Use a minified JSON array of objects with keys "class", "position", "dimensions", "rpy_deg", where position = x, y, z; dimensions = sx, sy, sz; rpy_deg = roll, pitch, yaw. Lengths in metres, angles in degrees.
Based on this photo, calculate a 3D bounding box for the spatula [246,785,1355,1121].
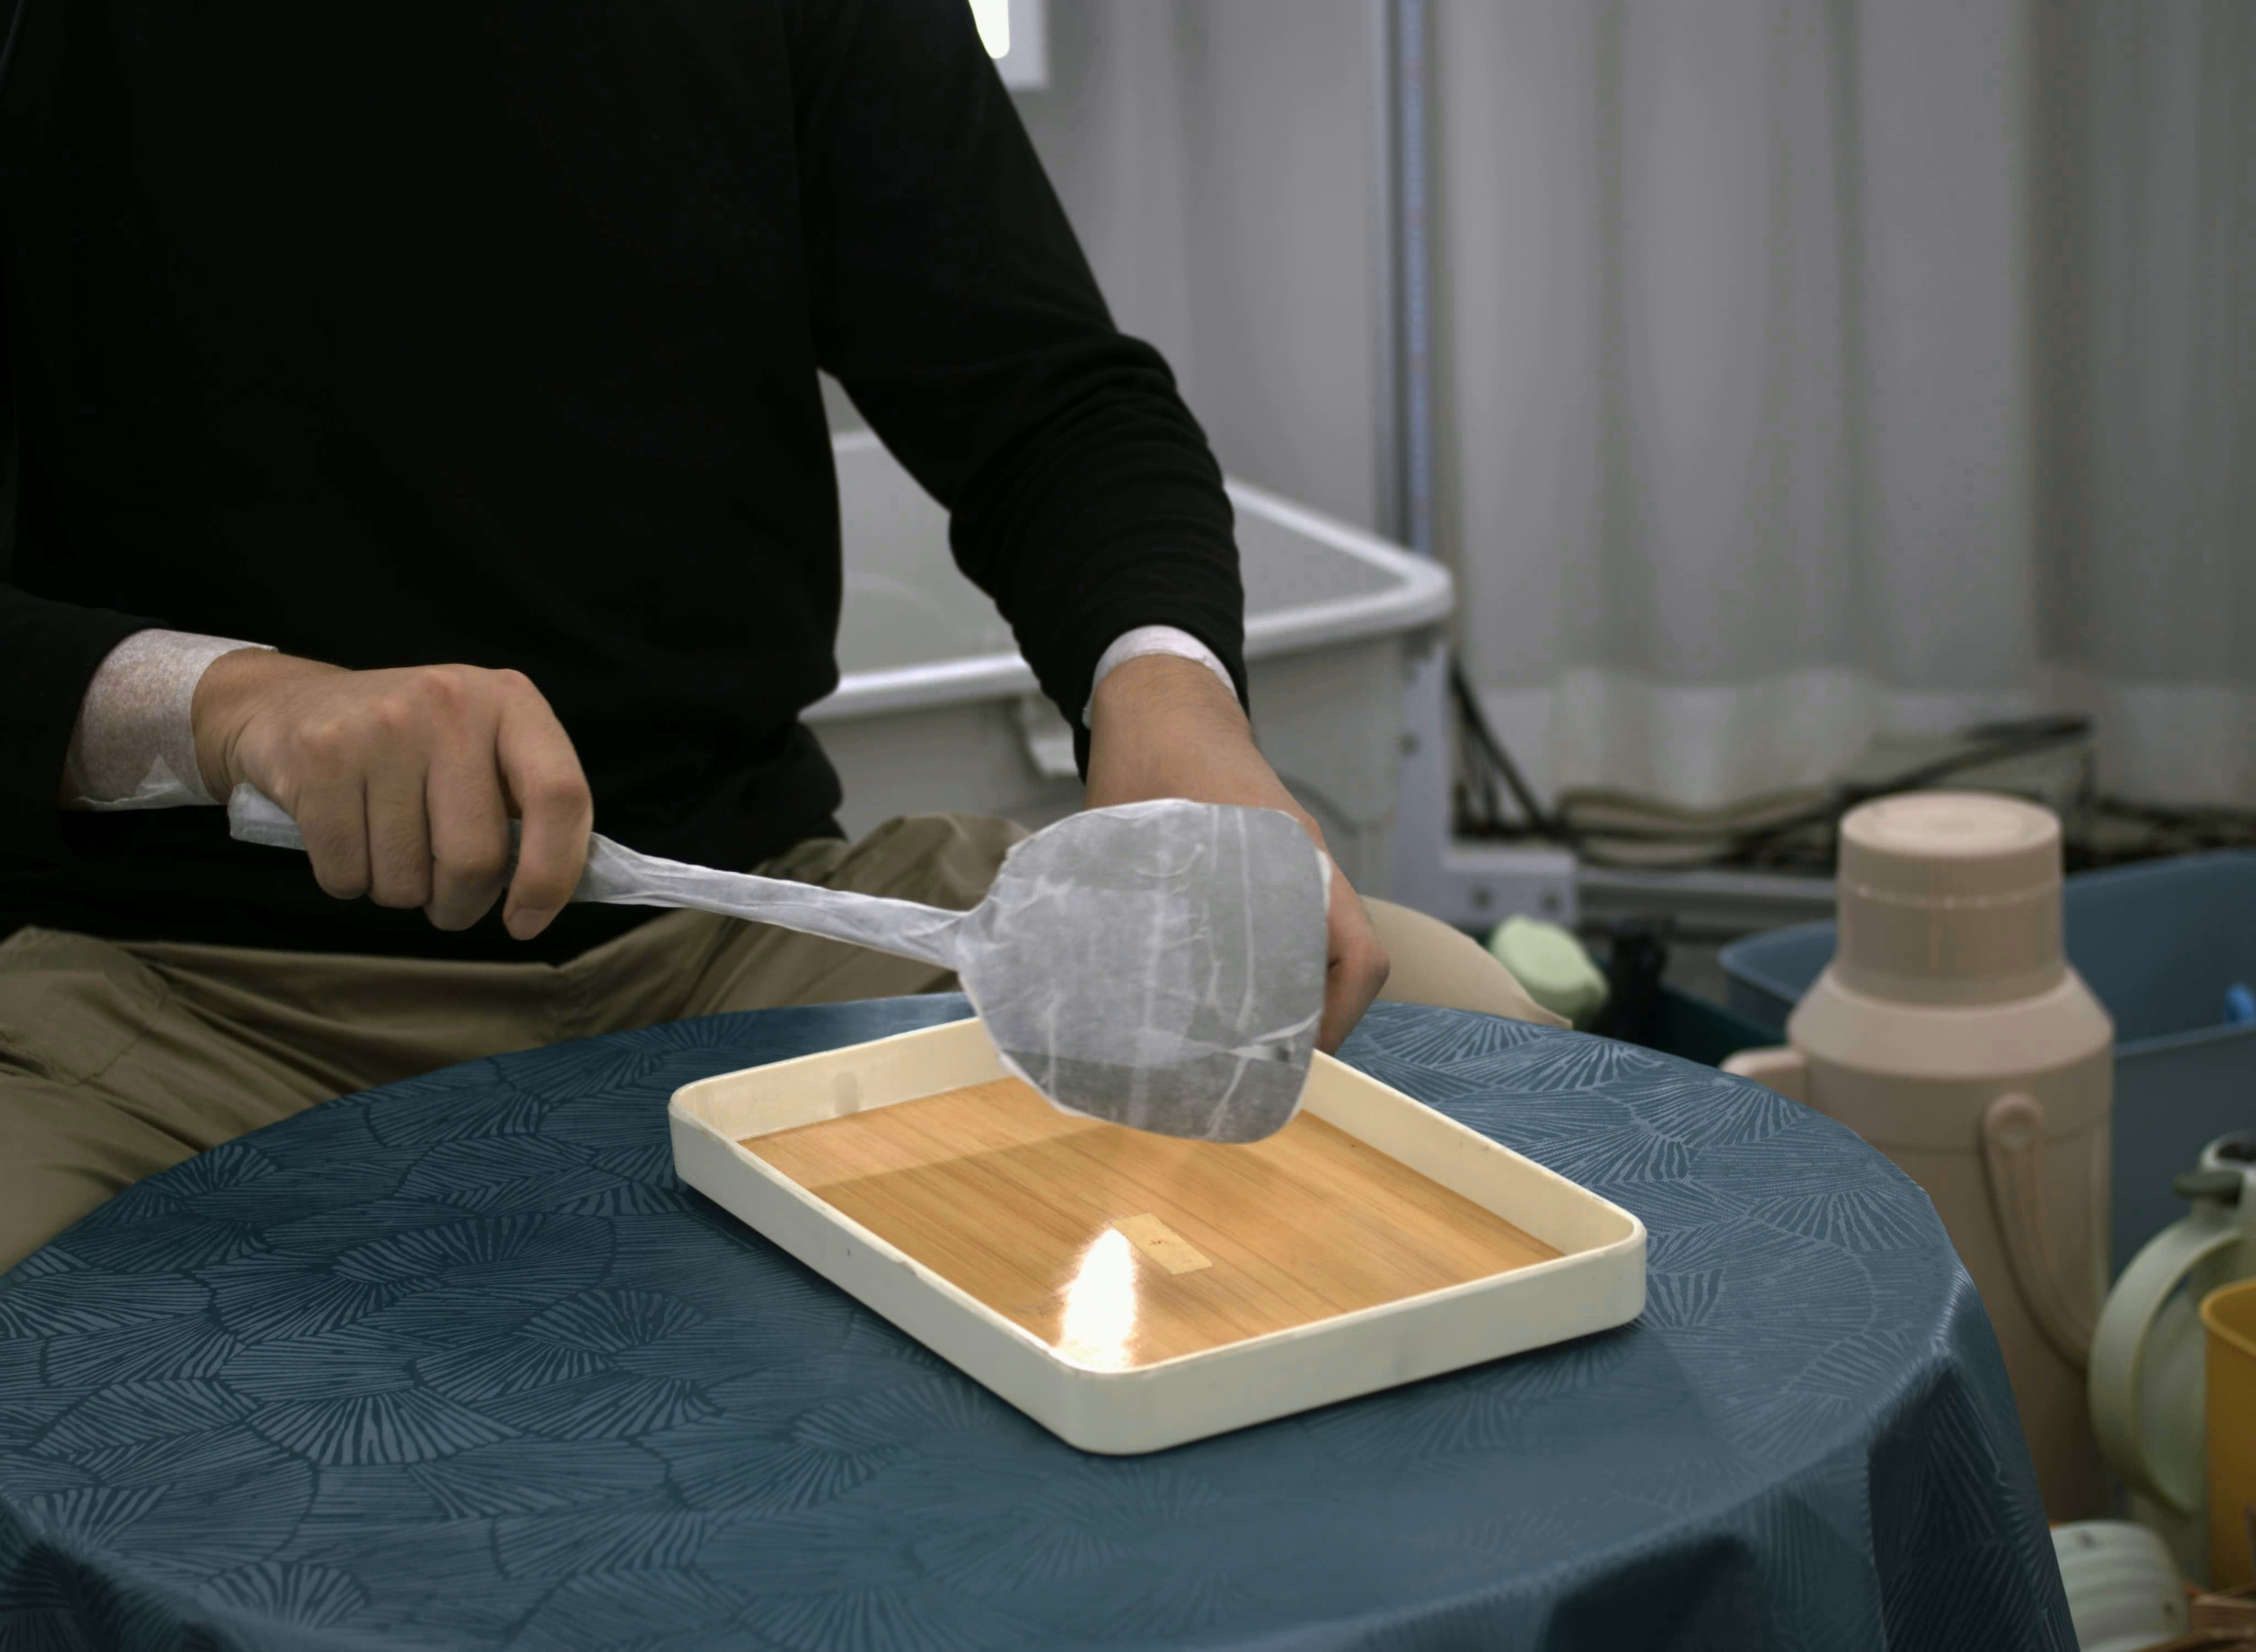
[{"class":"spatula","position":[-0.104,0.018,1.632],"dimensions":[0.366,0.098,0.044],"rpy_deg":[8,9,28]}]

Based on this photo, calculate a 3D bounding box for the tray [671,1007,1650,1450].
[{"class":"tray","position":[0.003,0.112,1.652],"dimensions":[0.191,0.027,0.303],"rpy_deg":[-12,18,-26]}]
